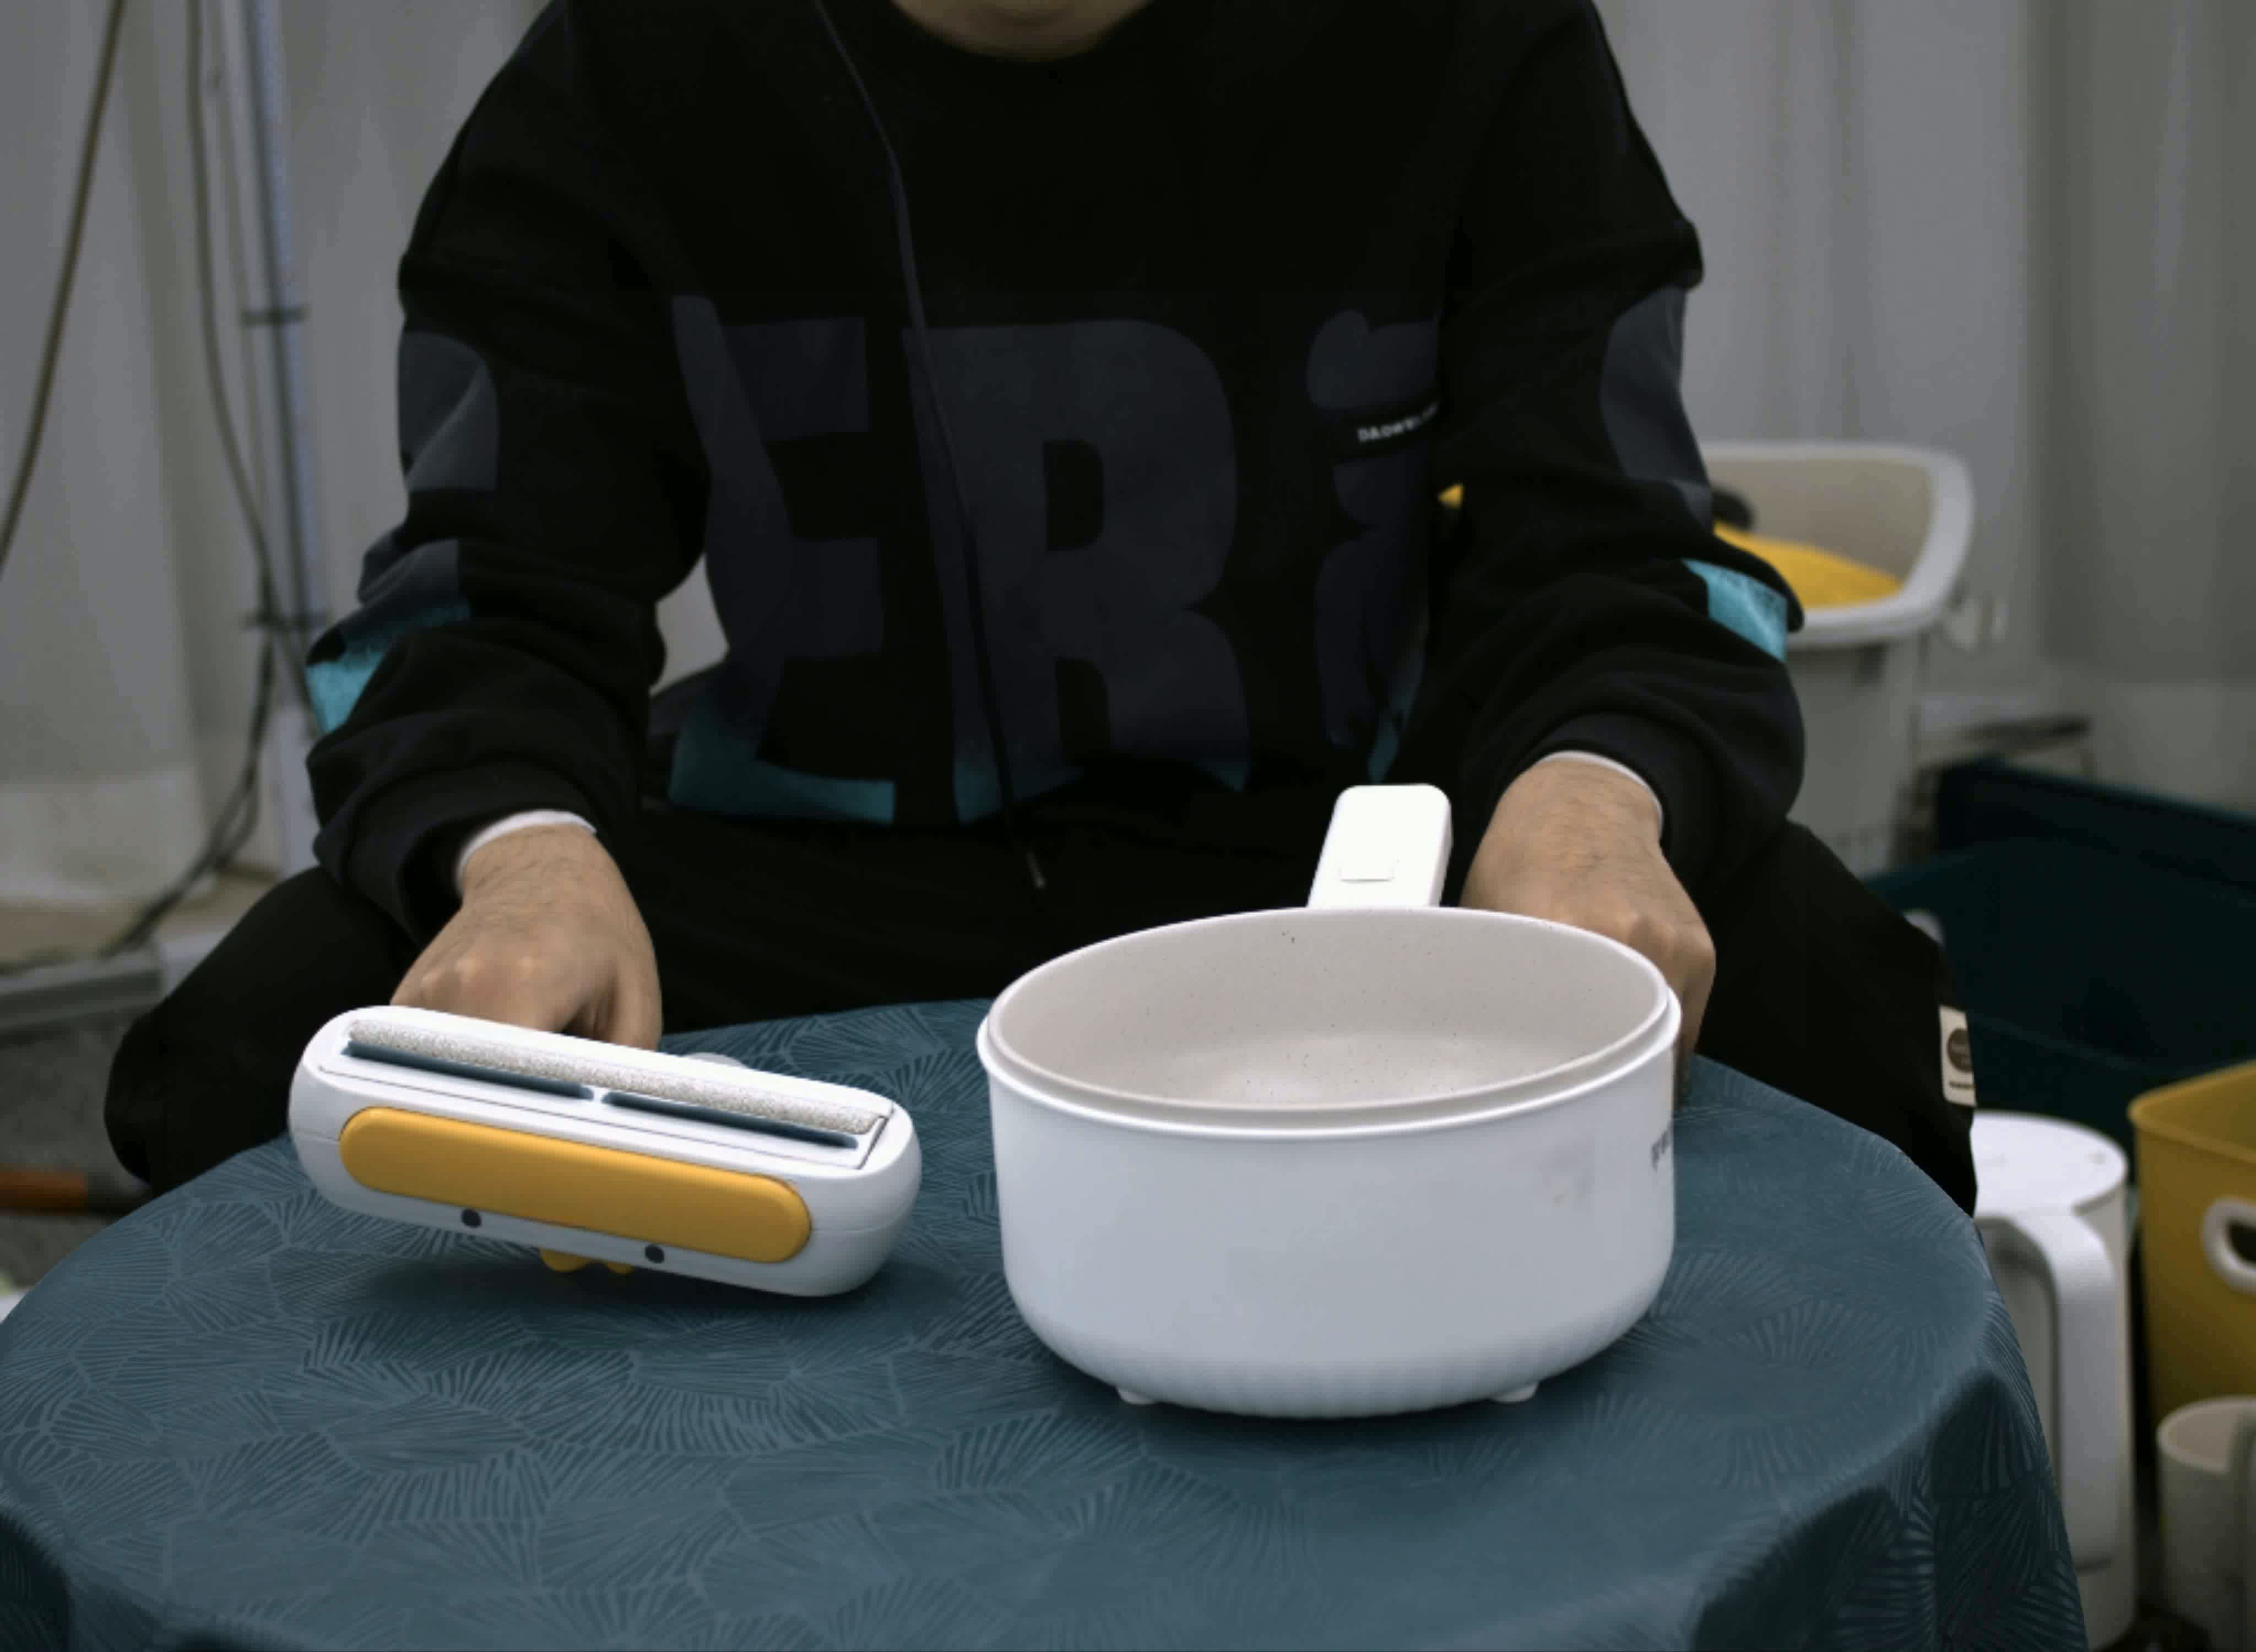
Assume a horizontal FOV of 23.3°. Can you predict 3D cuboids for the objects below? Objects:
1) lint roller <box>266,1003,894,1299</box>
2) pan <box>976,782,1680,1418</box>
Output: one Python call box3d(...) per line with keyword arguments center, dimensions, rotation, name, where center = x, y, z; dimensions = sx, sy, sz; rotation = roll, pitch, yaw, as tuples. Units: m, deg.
box3d(center=(-0.151, 0.090, 1.707), dimensions=(0.193, 0.074, 0.193), rotation=(6, 15, 14), name="lint roller")
box3d(center=(0.068, 0.077, 1.643), dimensions=(0.201, 0.101, 0.357), rotation=(-1, 15, 7), name="pan")
